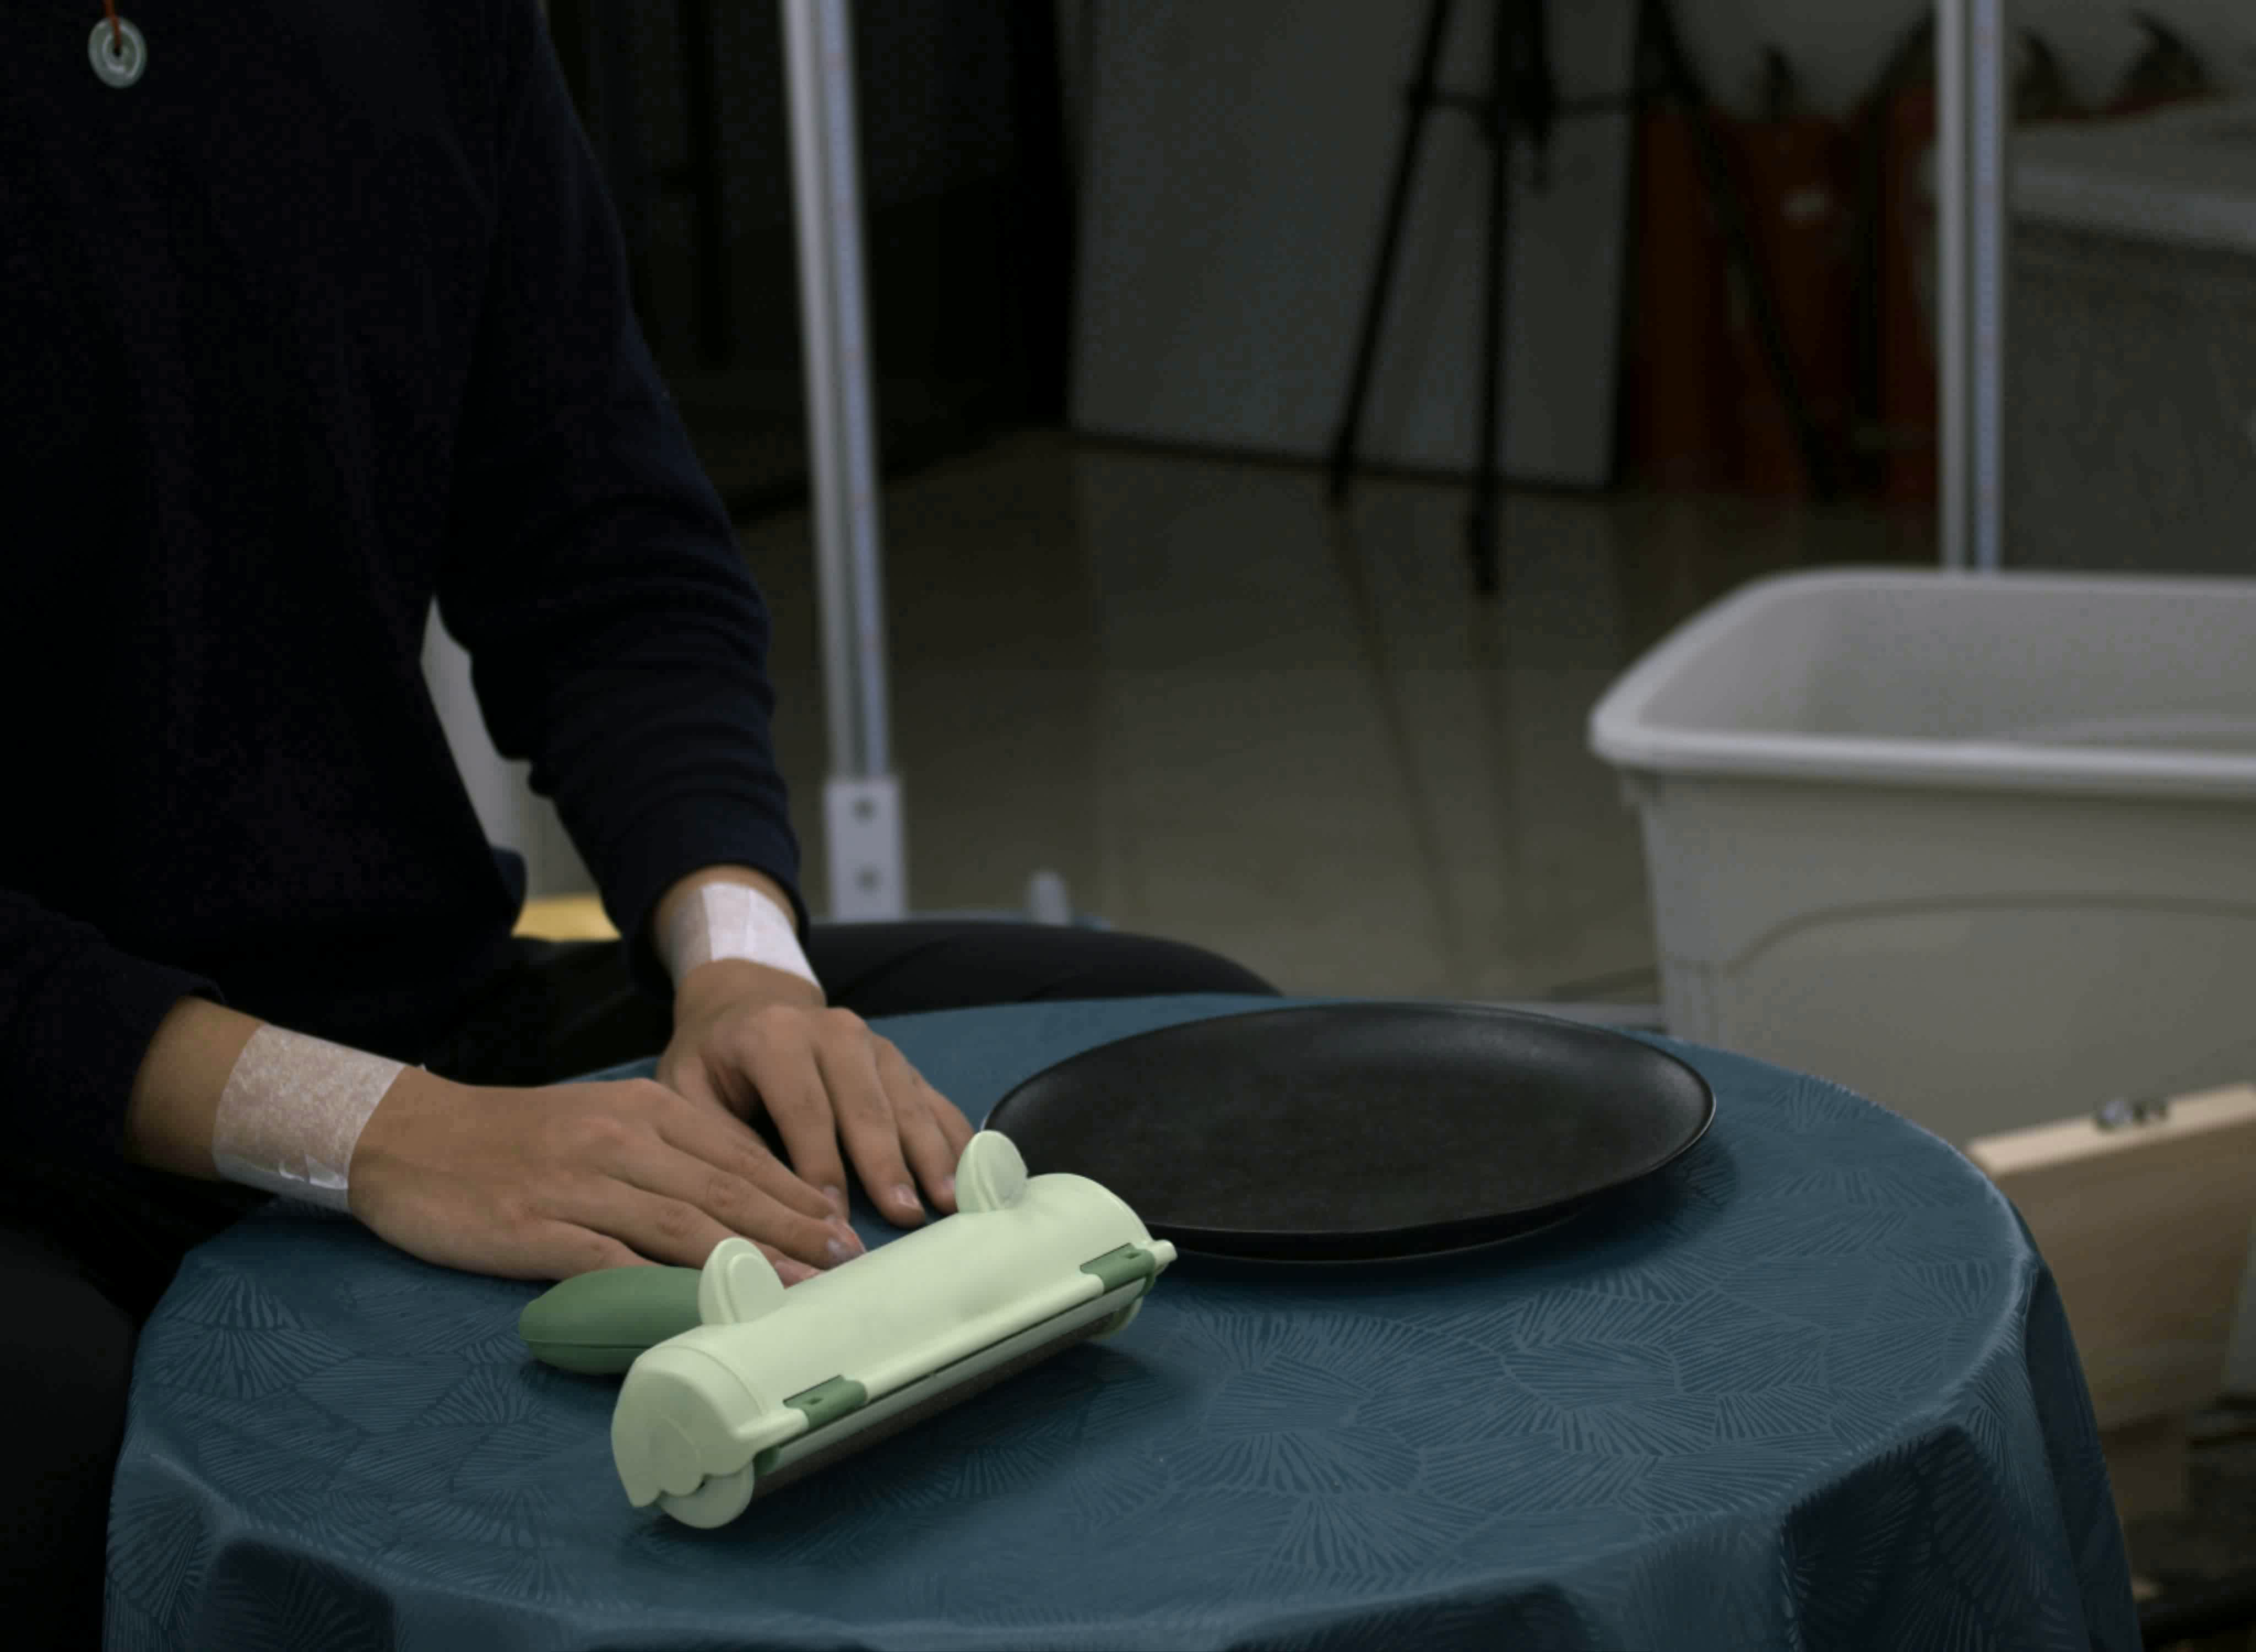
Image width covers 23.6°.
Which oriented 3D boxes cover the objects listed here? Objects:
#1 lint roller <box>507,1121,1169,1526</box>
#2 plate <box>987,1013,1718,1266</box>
[{"bbox_3d":[-0.113,0.130,1.586,0.184,0.083,0.195,14,20,35],"label":"lint roller"},{"bbox_3d":[0.074,0.104,1.768,0.241,0.024,0.245,-4,14,0],"label":"plate"}]
